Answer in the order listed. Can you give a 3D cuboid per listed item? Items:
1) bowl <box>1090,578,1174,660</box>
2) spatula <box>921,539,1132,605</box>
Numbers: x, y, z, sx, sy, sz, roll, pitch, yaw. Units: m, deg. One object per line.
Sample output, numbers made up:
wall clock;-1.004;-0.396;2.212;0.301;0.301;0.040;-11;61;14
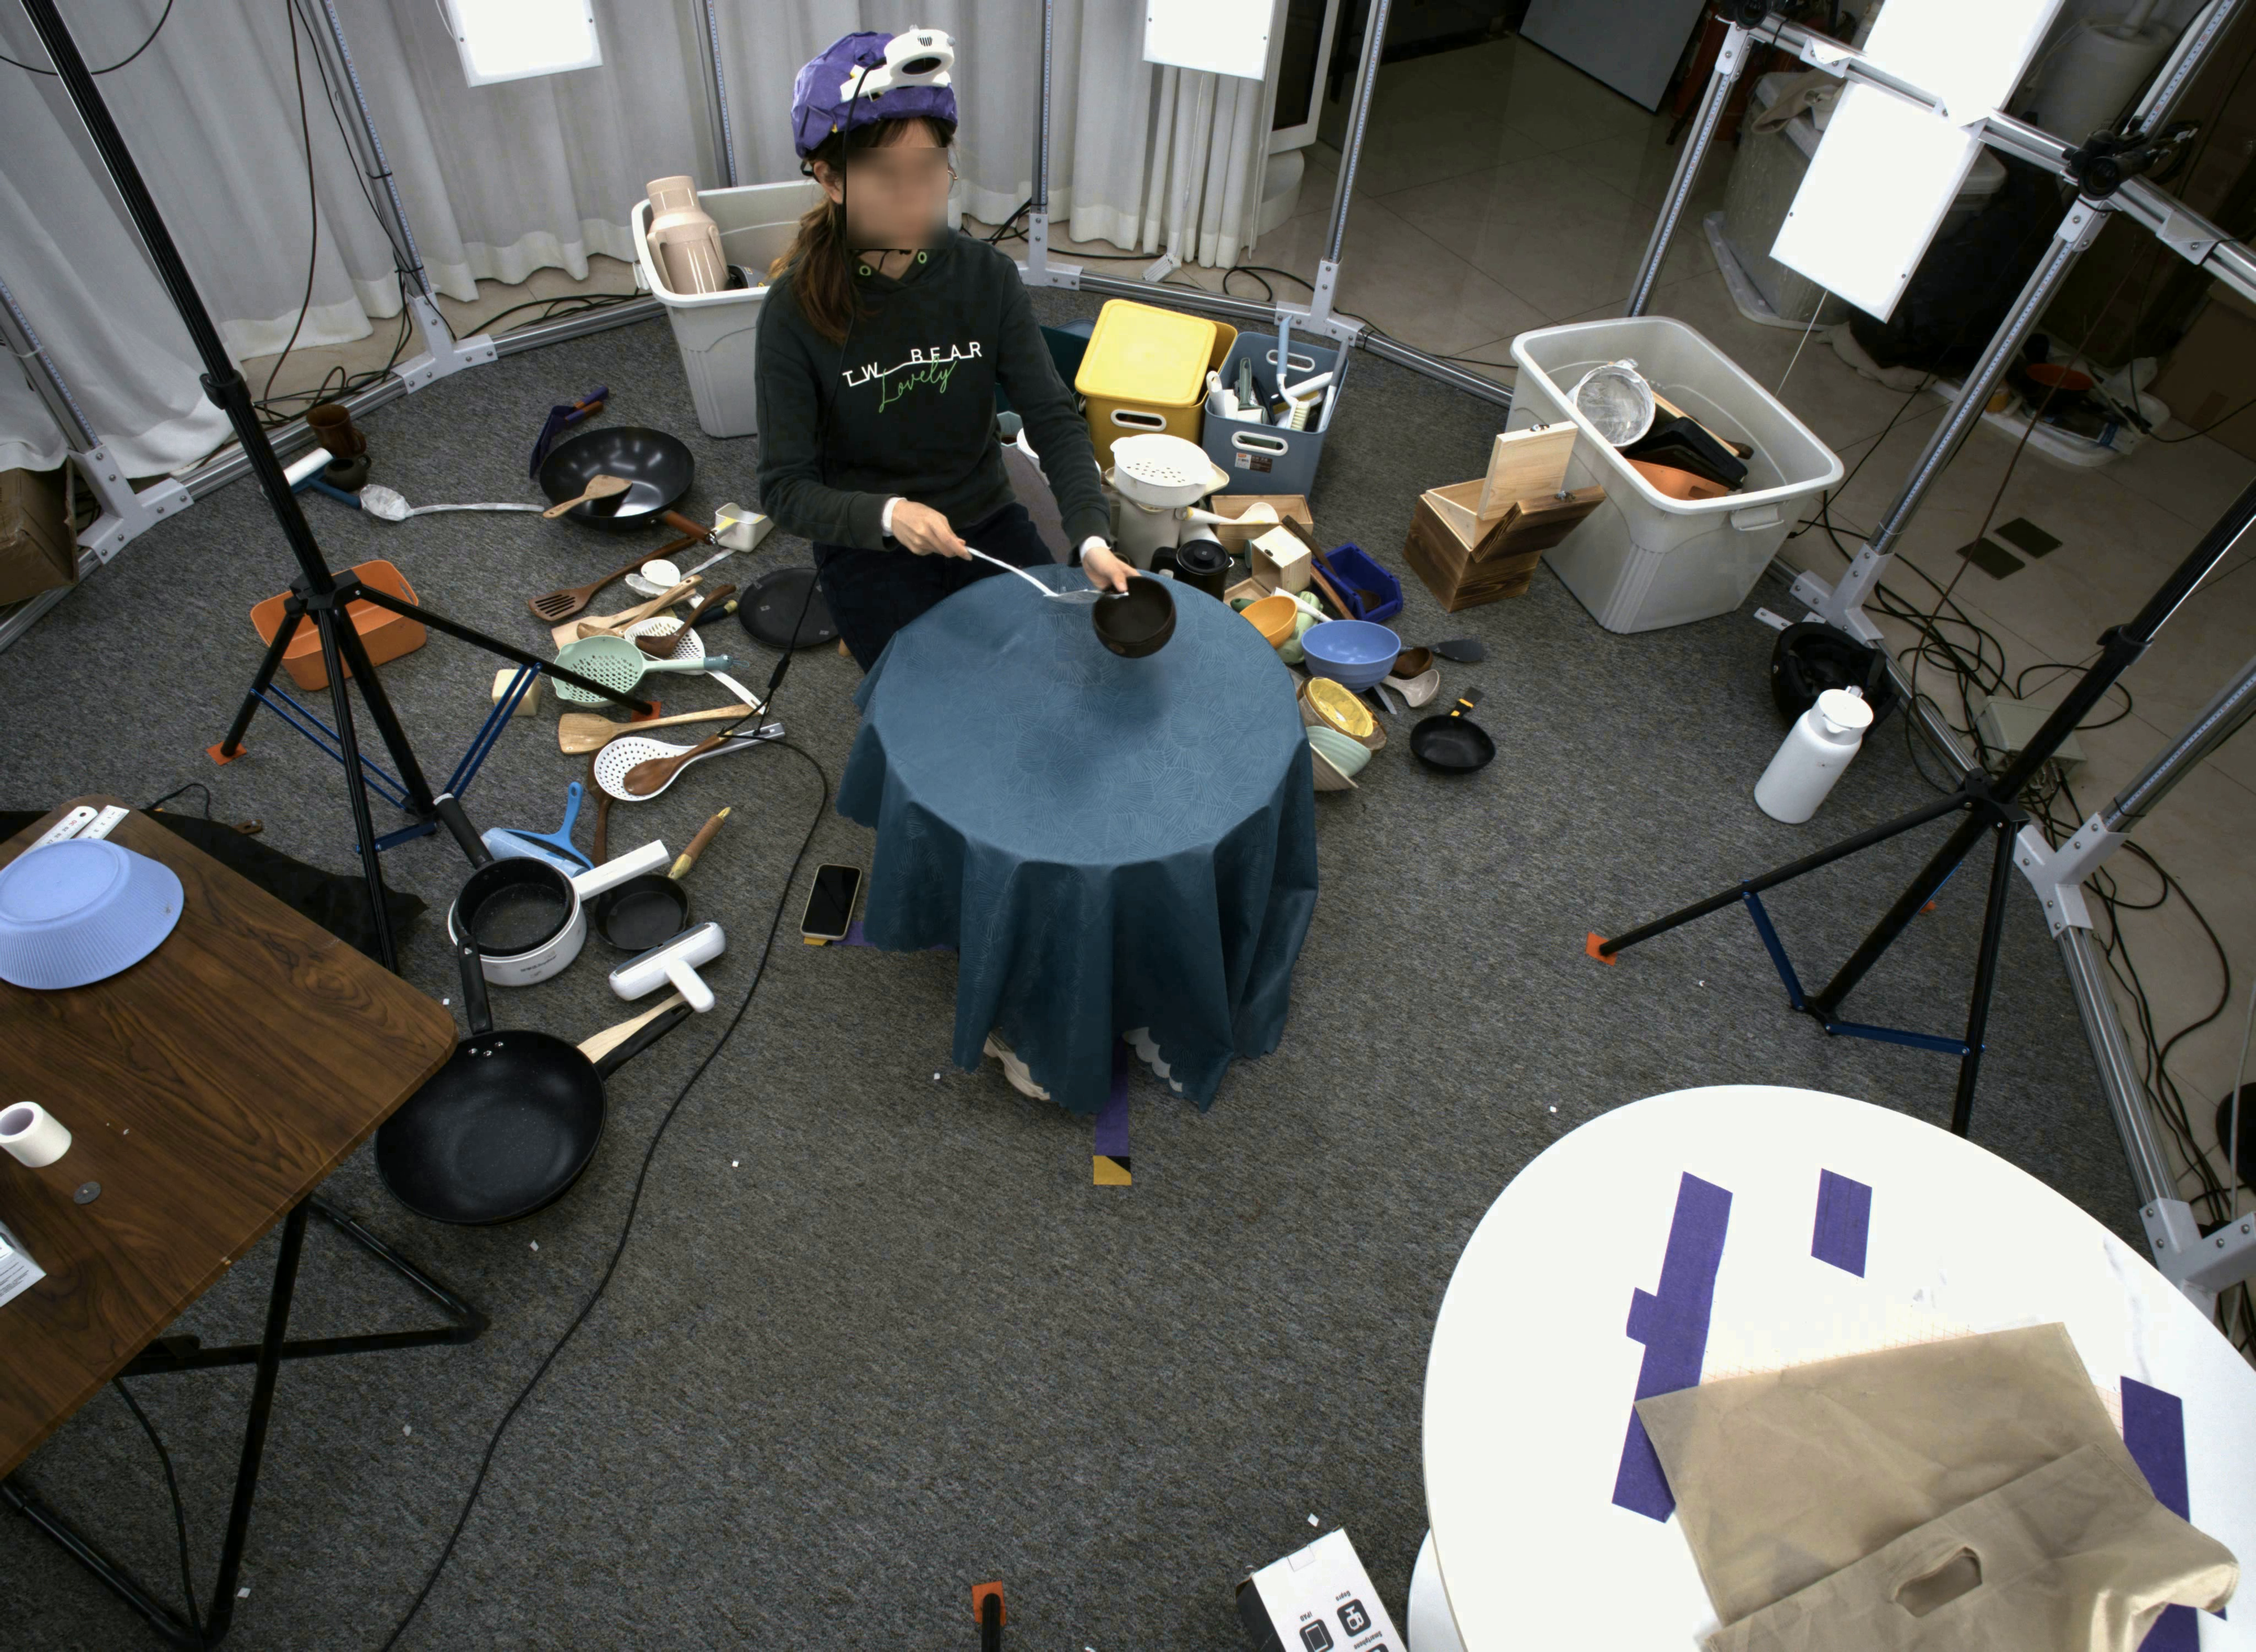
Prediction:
bowl;0.008;-0.285;1.822;0.118;0.068;0.121;-4;58;6
spatula;-0.158;-0.357;1.773;0.370;0.044;0.098;28;21;30
